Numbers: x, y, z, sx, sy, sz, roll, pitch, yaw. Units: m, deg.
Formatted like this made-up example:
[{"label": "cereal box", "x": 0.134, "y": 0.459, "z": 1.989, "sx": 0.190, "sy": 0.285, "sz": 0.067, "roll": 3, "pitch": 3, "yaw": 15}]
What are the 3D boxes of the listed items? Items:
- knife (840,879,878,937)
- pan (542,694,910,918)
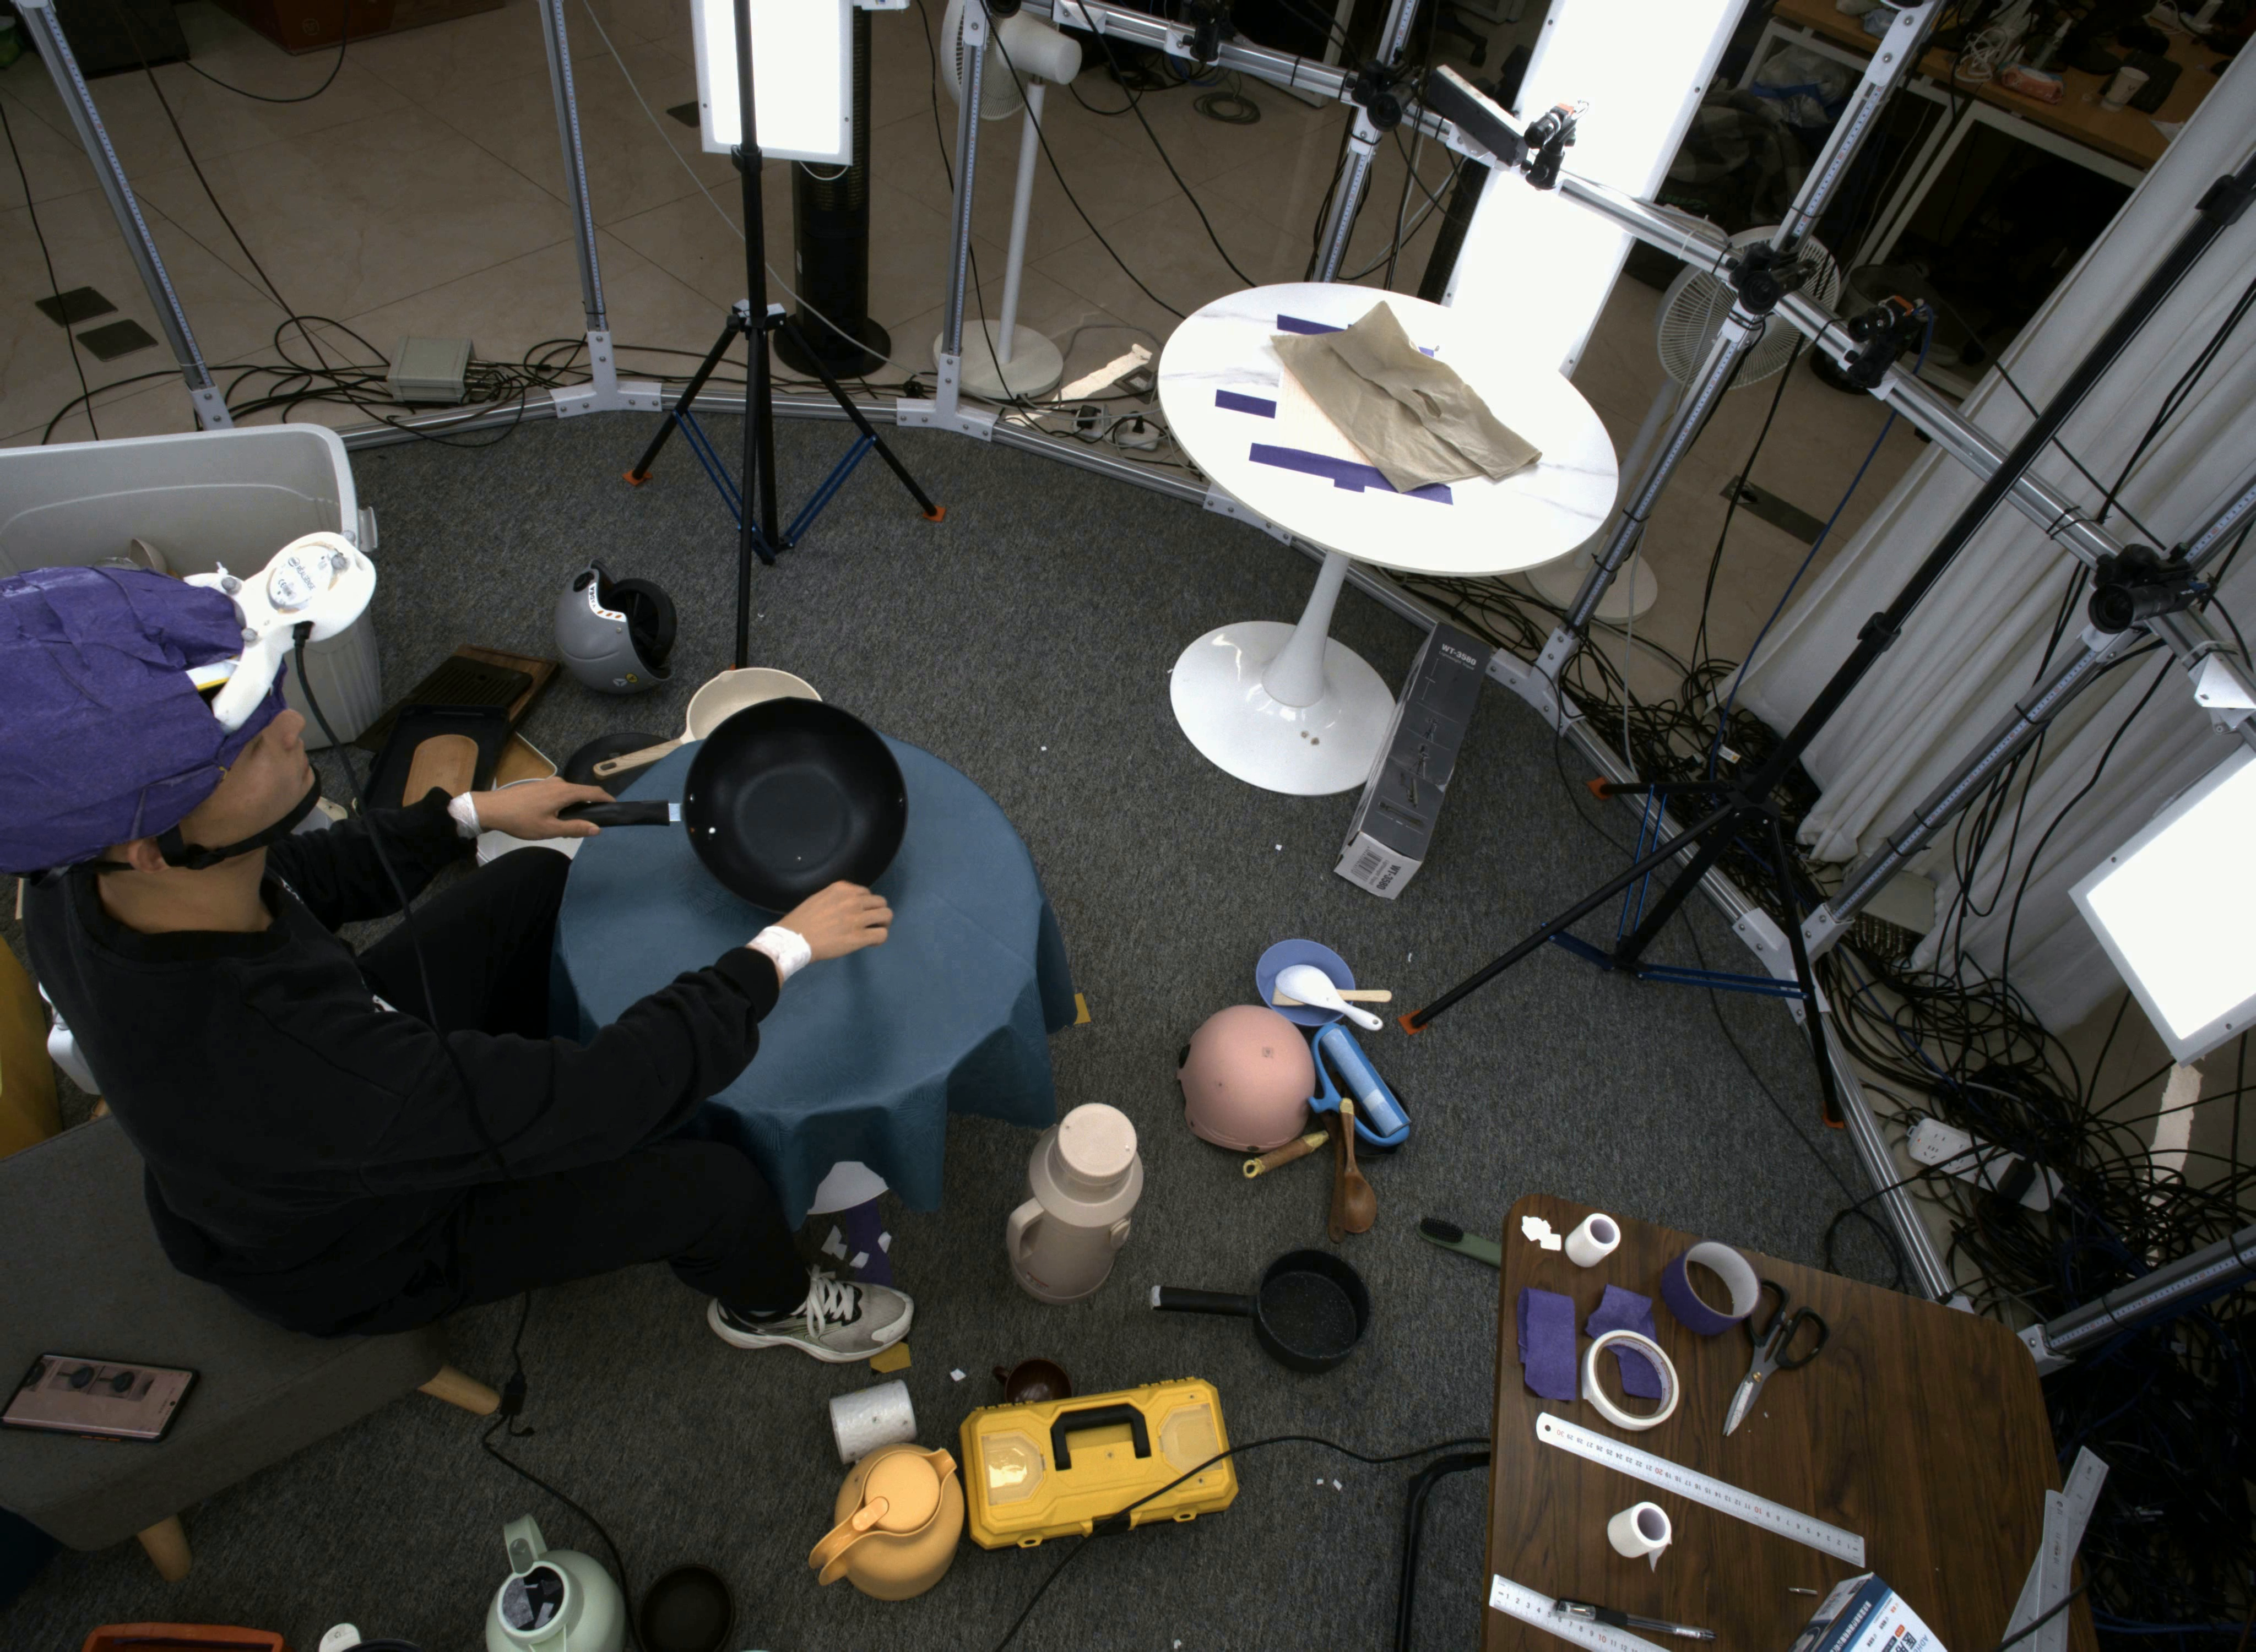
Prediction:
[{"label": "knife", "x": -0.326, "y": 0.092, "z": 1.565, "sx": 0.026, "sy": 0.018, "sz": 0.219, "roll": -12, "pitch": 17, "yaw": -16}, {"label": "pan", "x": -0.507, "y": -0.013, "z": 1.618, "sx": 0.466, "sy": 0.086, "sz": 0.288, "roll": -4, "pitch": 78, "yaw": -20}]
